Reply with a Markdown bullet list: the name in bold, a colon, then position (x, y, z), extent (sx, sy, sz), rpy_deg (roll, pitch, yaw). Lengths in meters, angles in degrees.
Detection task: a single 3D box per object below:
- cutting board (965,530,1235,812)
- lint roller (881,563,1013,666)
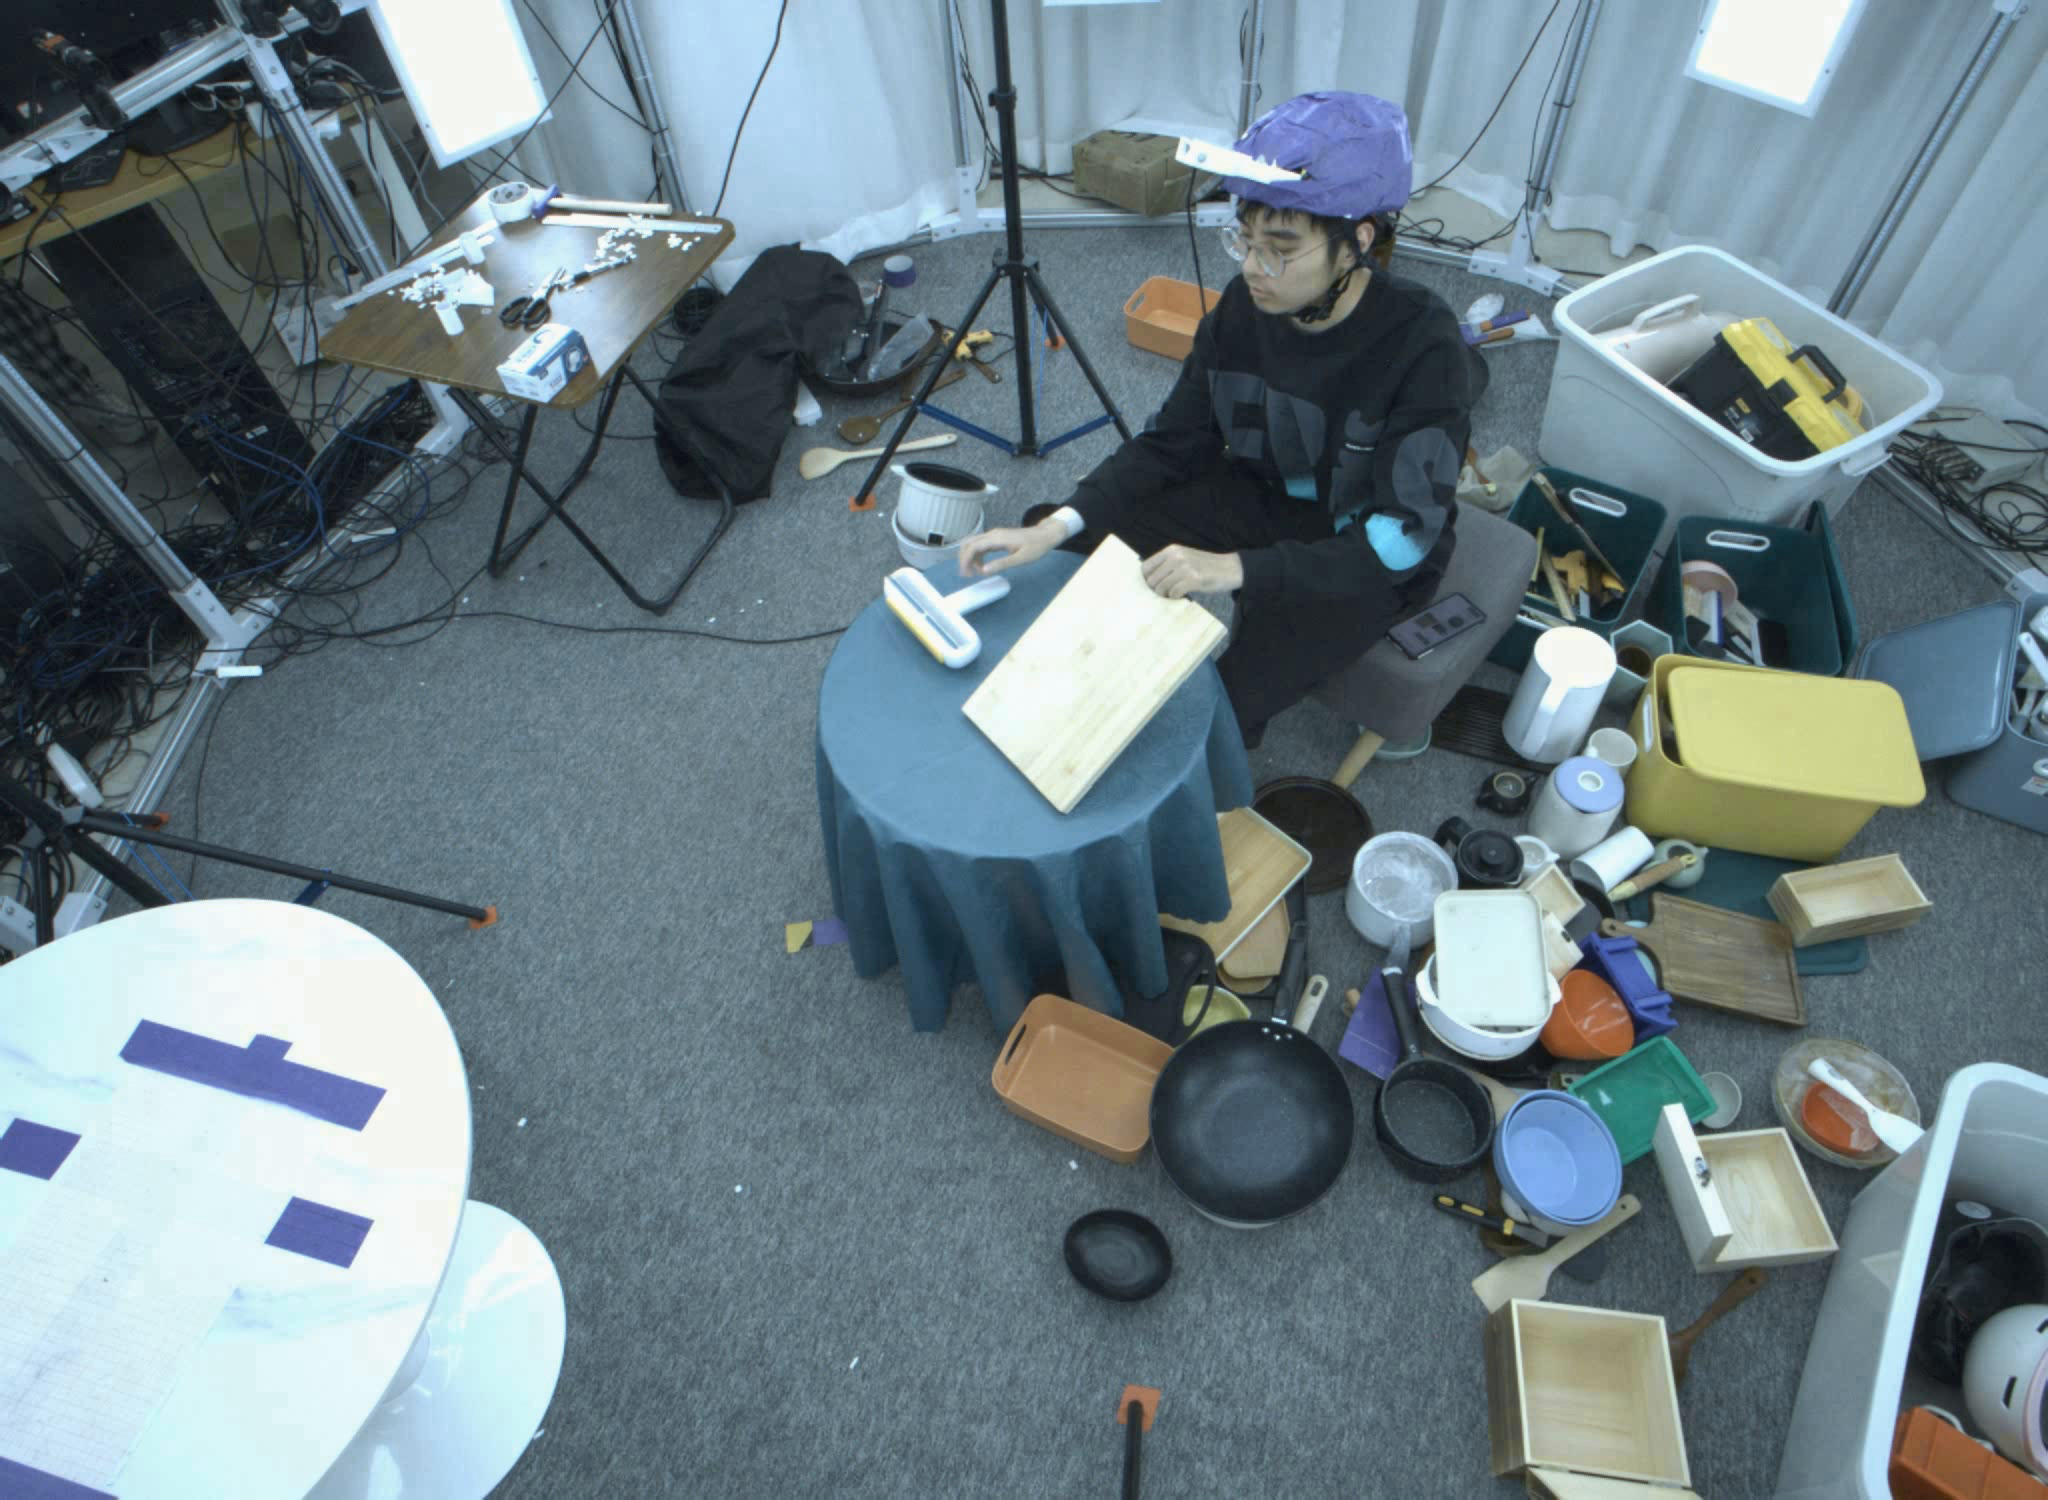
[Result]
- **cutting board**: position (0.097, -0.116, 1.744), extent (0.348, 0.024, 0.246), rpy_deg (-49, 62, 7)
- **lint roller**: position (-0.100, -0.232, 1.910), extent (0.194, 0.075, 0.190), rpy_deg (-31, 65, -21)
